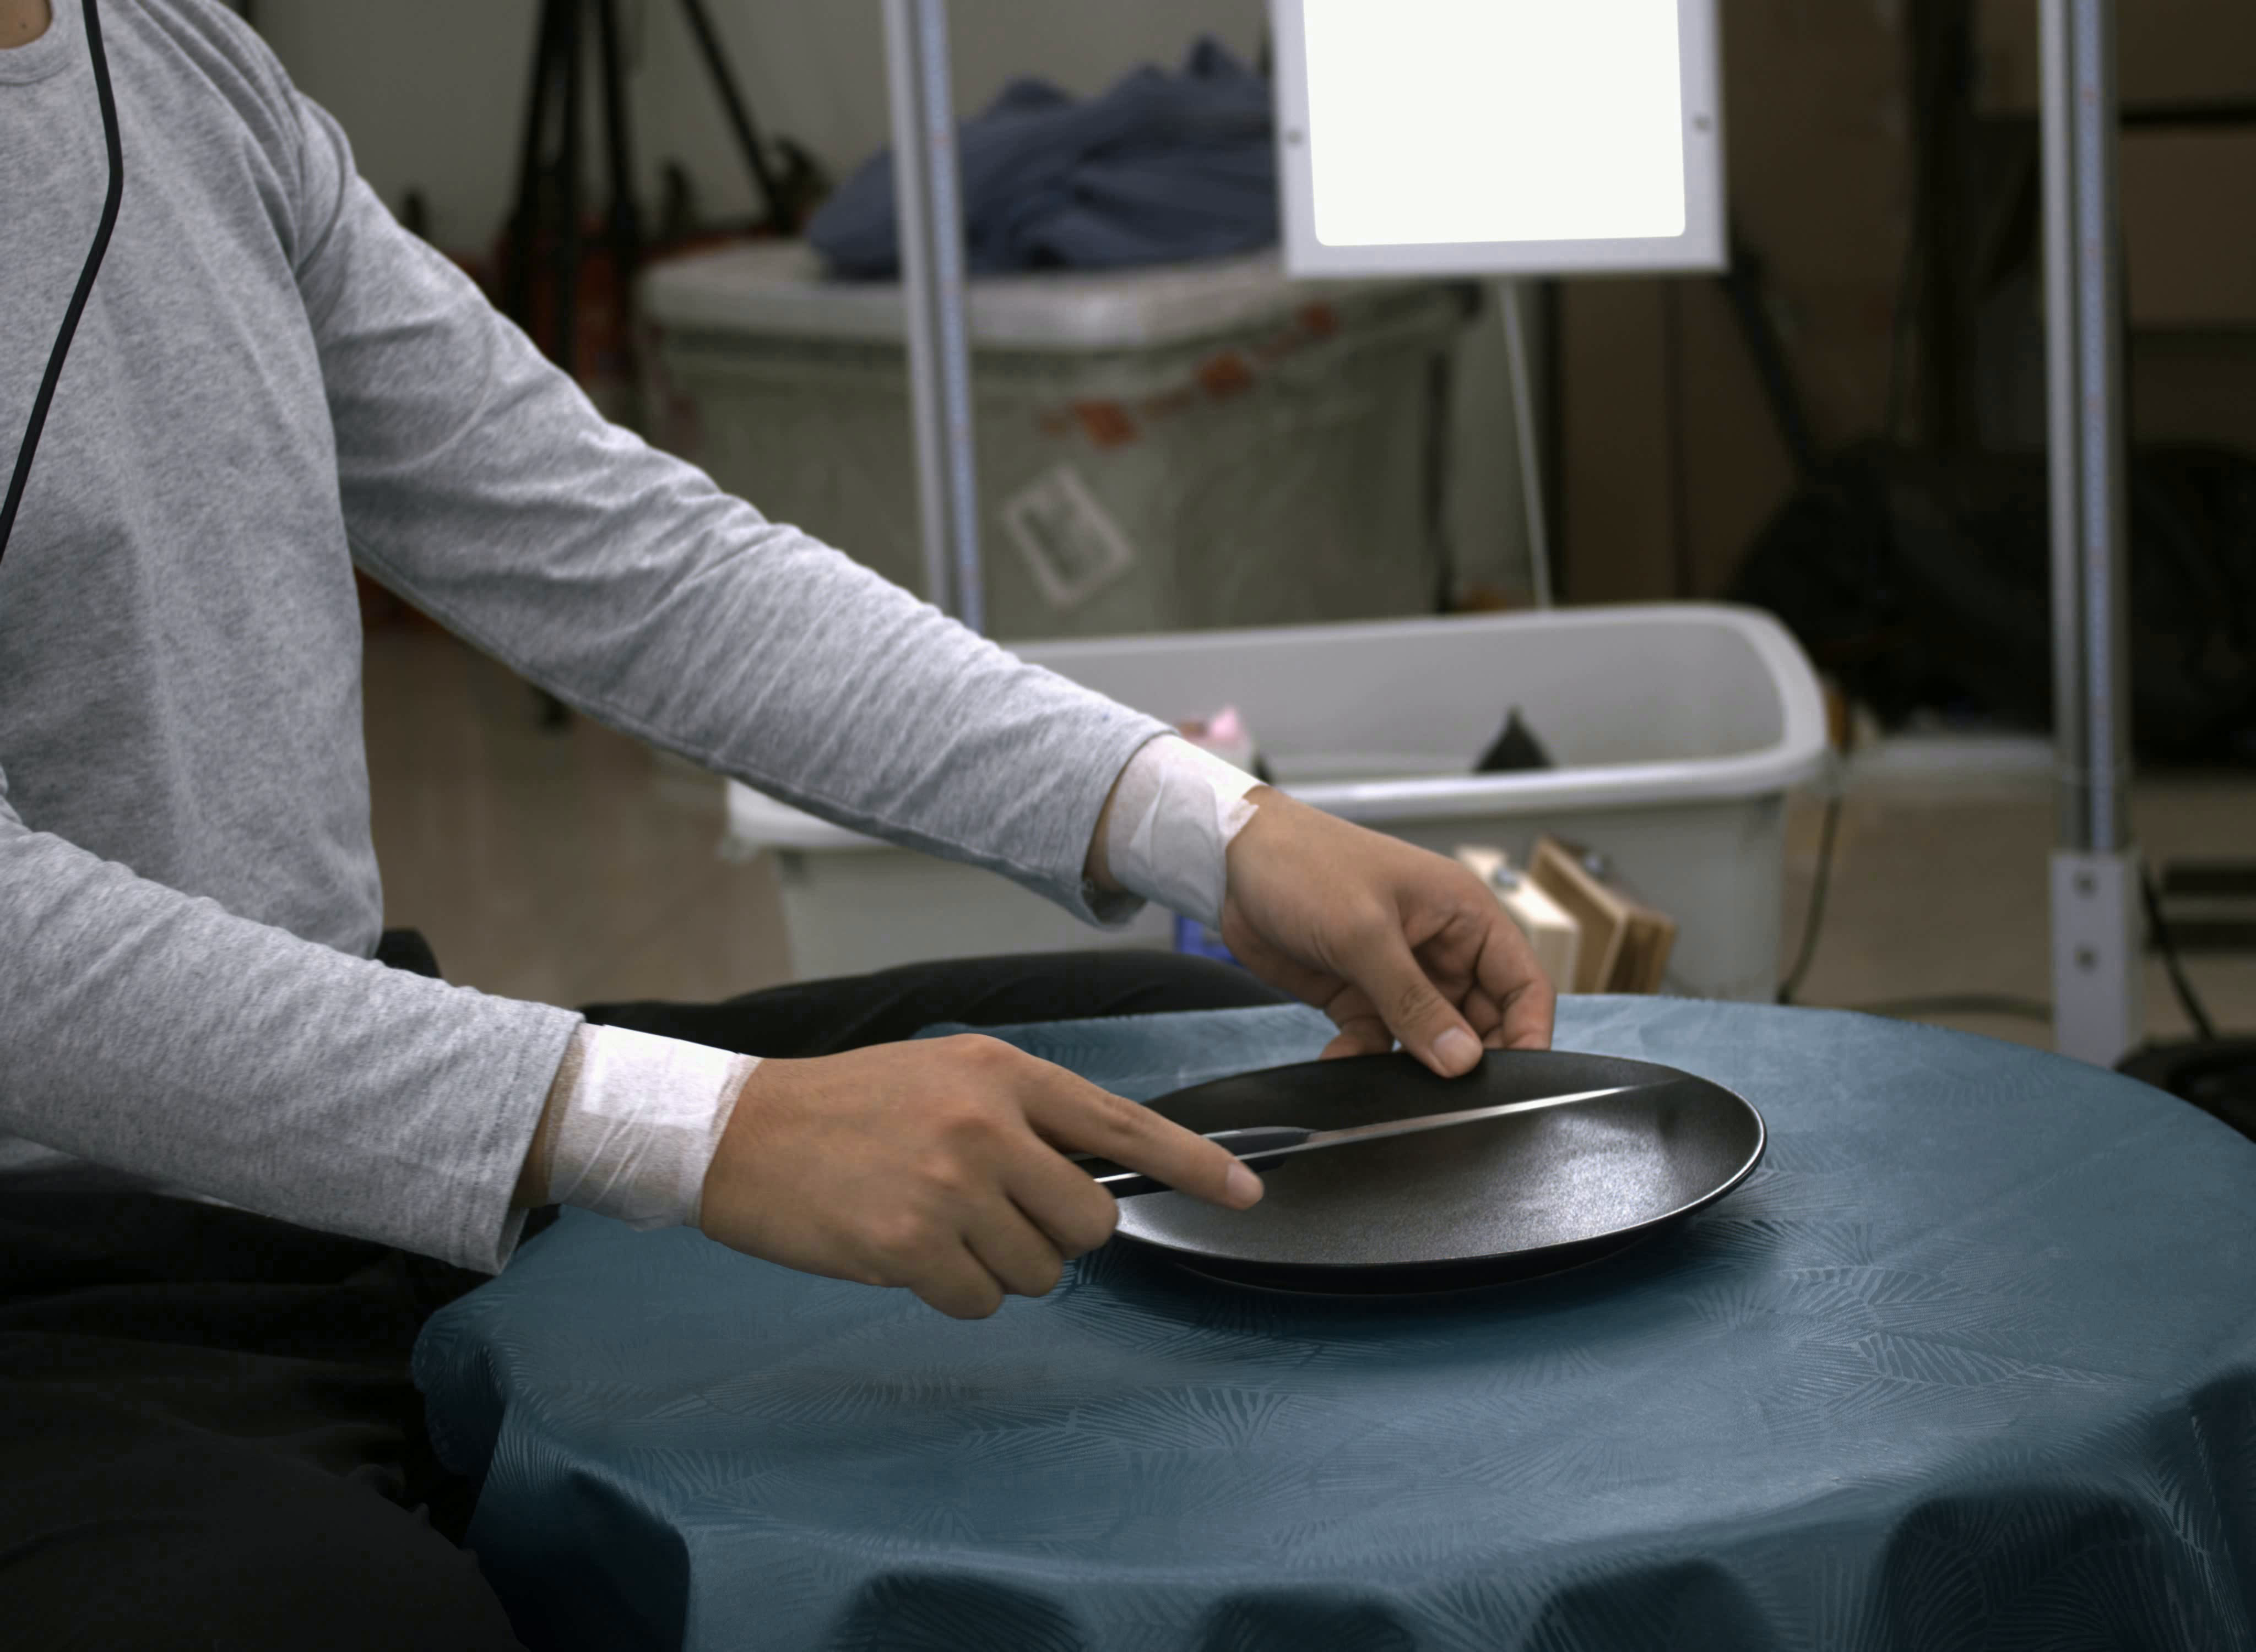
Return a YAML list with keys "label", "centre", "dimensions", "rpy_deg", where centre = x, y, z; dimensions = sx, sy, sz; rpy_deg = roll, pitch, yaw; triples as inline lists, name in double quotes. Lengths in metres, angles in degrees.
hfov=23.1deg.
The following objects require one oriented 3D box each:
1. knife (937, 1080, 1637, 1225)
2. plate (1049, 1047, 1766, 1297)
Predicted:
- label: "knife"
  centre: [0.054, 0.100, 1.738]
  dimensions: [0.234, 0.016, 0.025]
  rpy_deg: [-9, 5, -16]
- label: "plate"
  centre: [0.094, 0.119, 1.852]
  dimensions: [0.244, 0.023, 0.244]
  rpy_deg: [-5, 14, 0]
